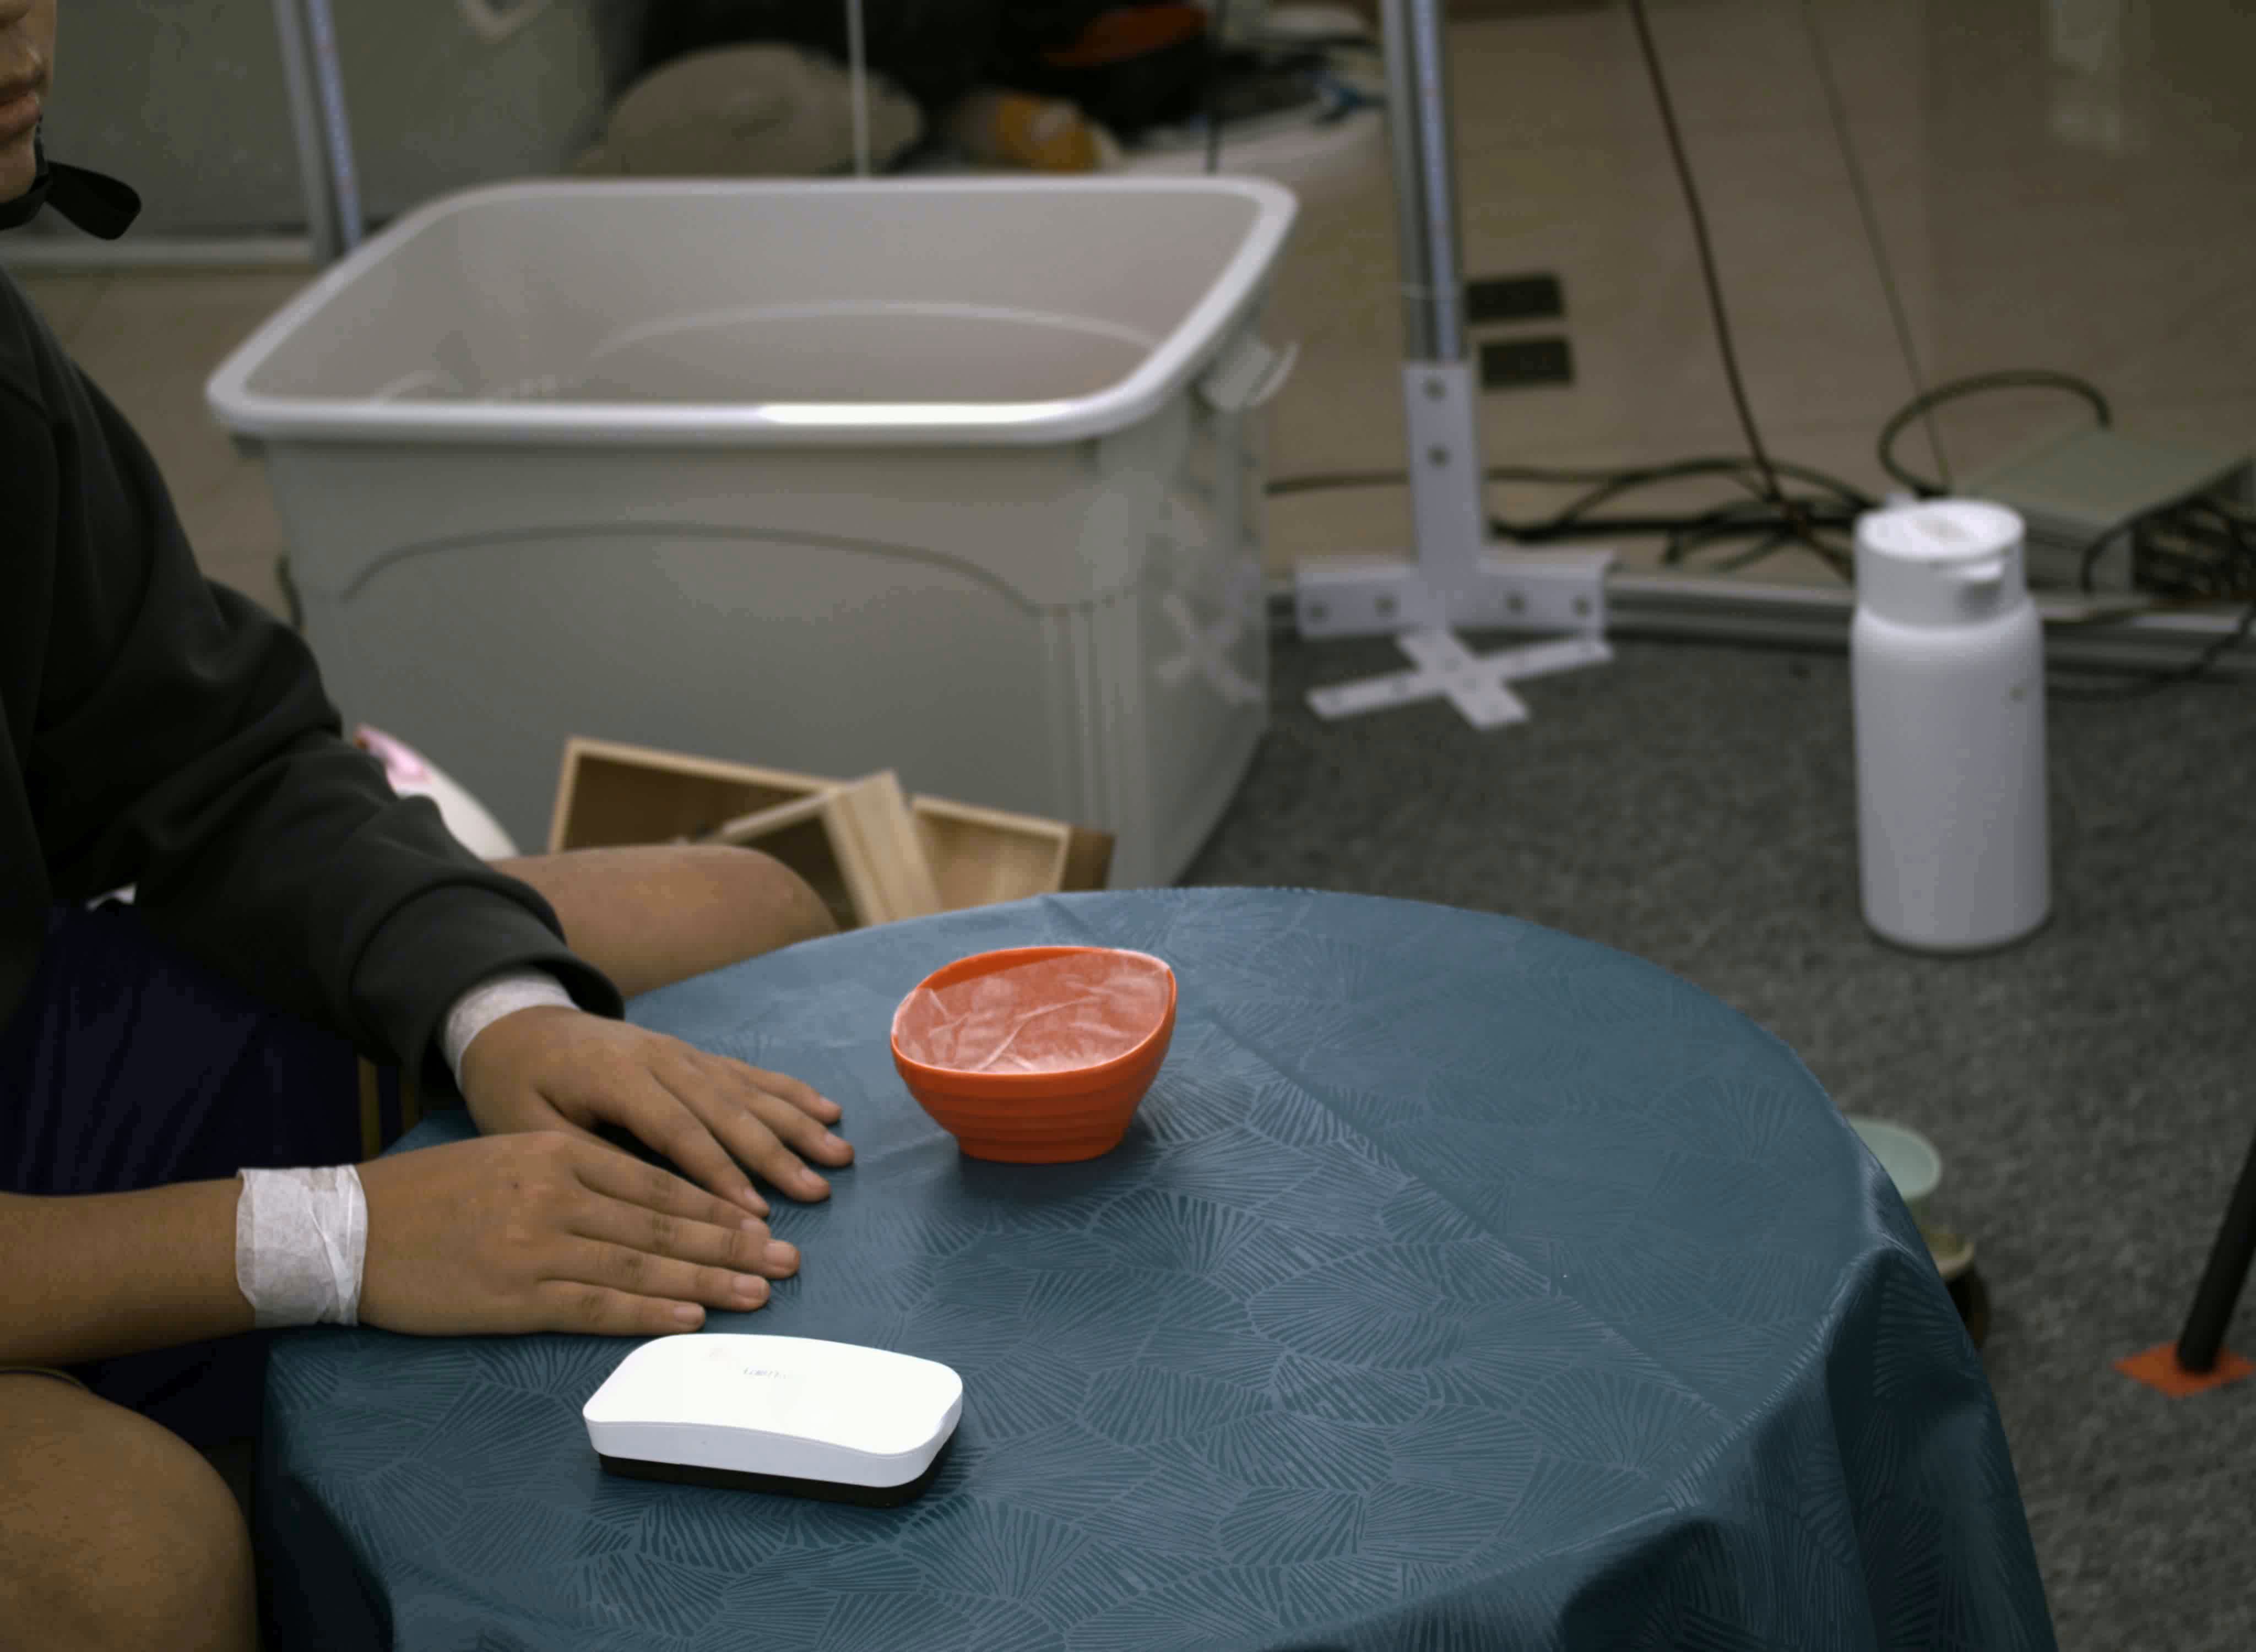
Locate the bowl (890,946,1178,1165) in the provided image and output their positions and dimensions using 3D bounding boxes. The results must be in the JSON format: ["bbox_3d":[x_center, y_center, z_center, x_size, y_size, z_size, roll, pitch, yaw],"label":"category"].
[{"bbox_3d":[-0.034,0.093,2.194,0.119,0.052,0.117,-6,26,3],"label":"bowl"}]

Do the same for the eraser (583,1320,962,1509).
[{"bbox_3d":[-0.124,0.206,1.995,0.131,0.035,0.062,6,27,23],"label":"eraser"}]
